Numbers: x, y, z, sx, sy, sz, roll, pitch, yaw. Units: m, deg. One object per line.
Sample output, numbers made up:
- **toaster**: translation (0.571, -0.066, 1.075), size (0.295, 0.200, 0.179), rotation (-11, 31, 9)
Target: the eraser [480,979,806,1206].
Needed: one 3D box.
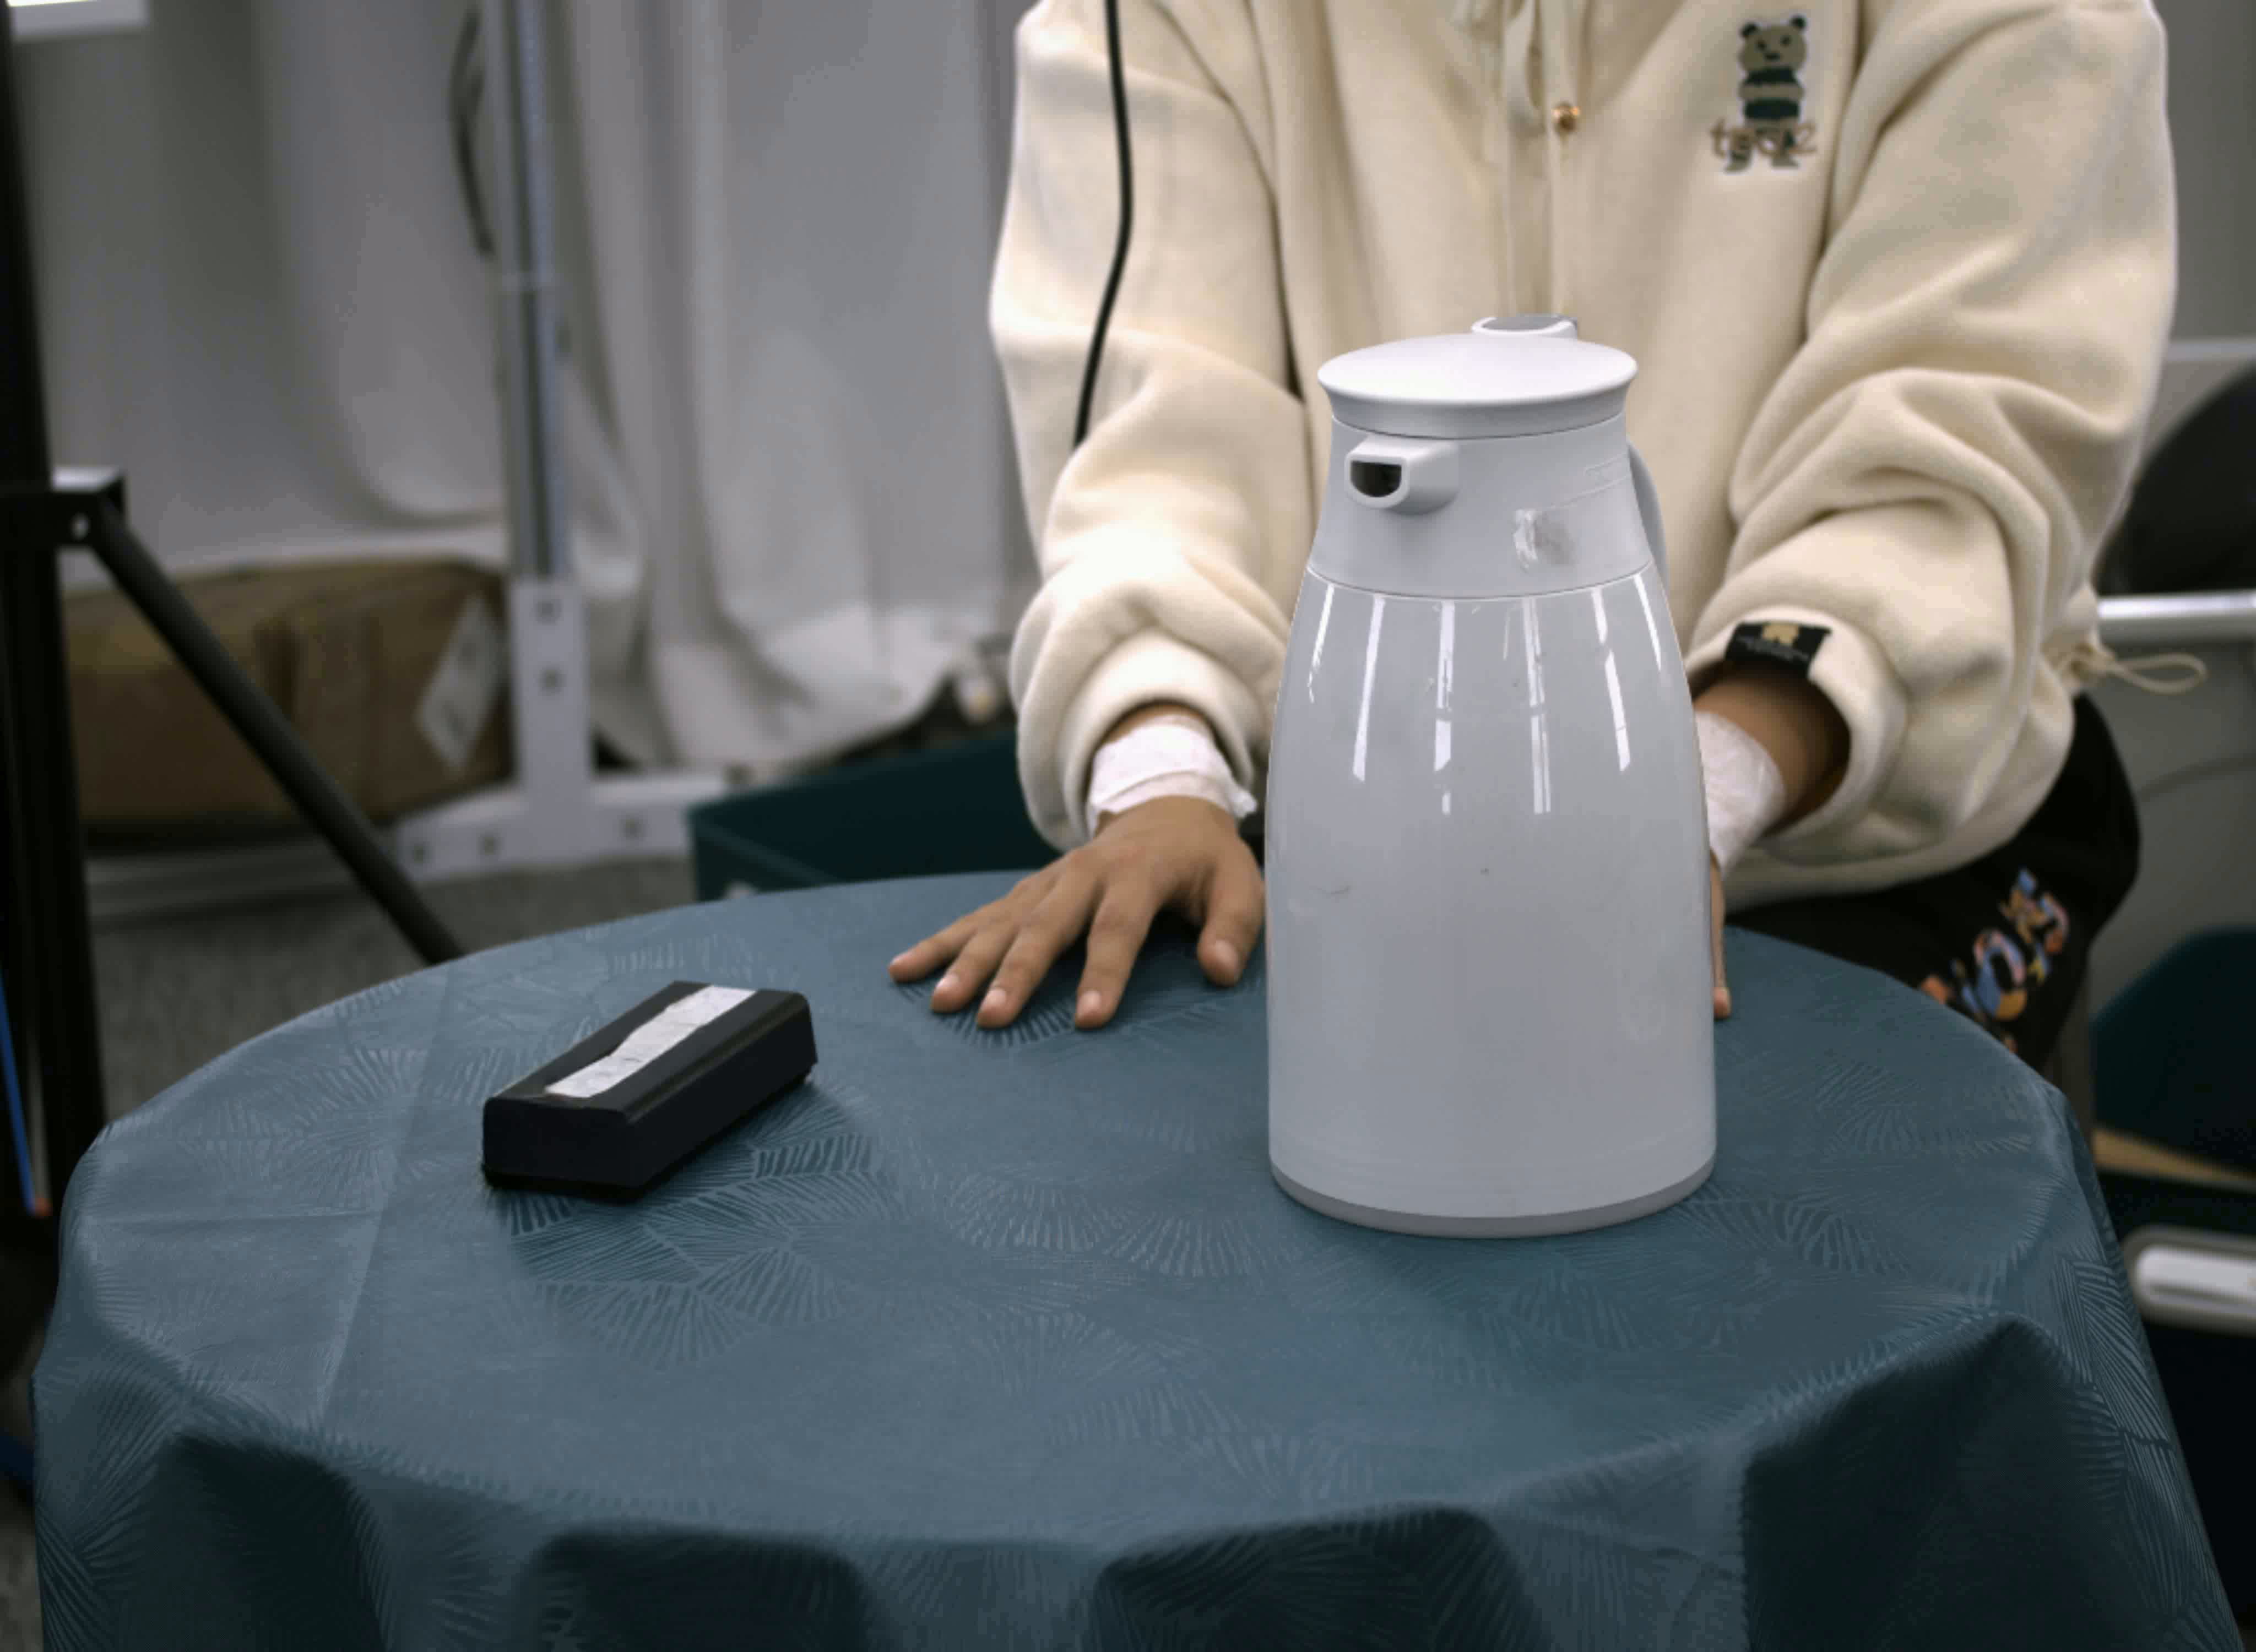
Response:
- **eraser**: translation (-0.146, 0.080, 1.626), size (0.054, 0.030, 0.124), rotation (6, 18, 20)

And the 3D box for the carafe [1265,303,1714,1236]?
- **carafe**: translation (0.112, -0.024, 1.551), size (0.135, 0.249, 0.164), rotation (6, 16, 30)
